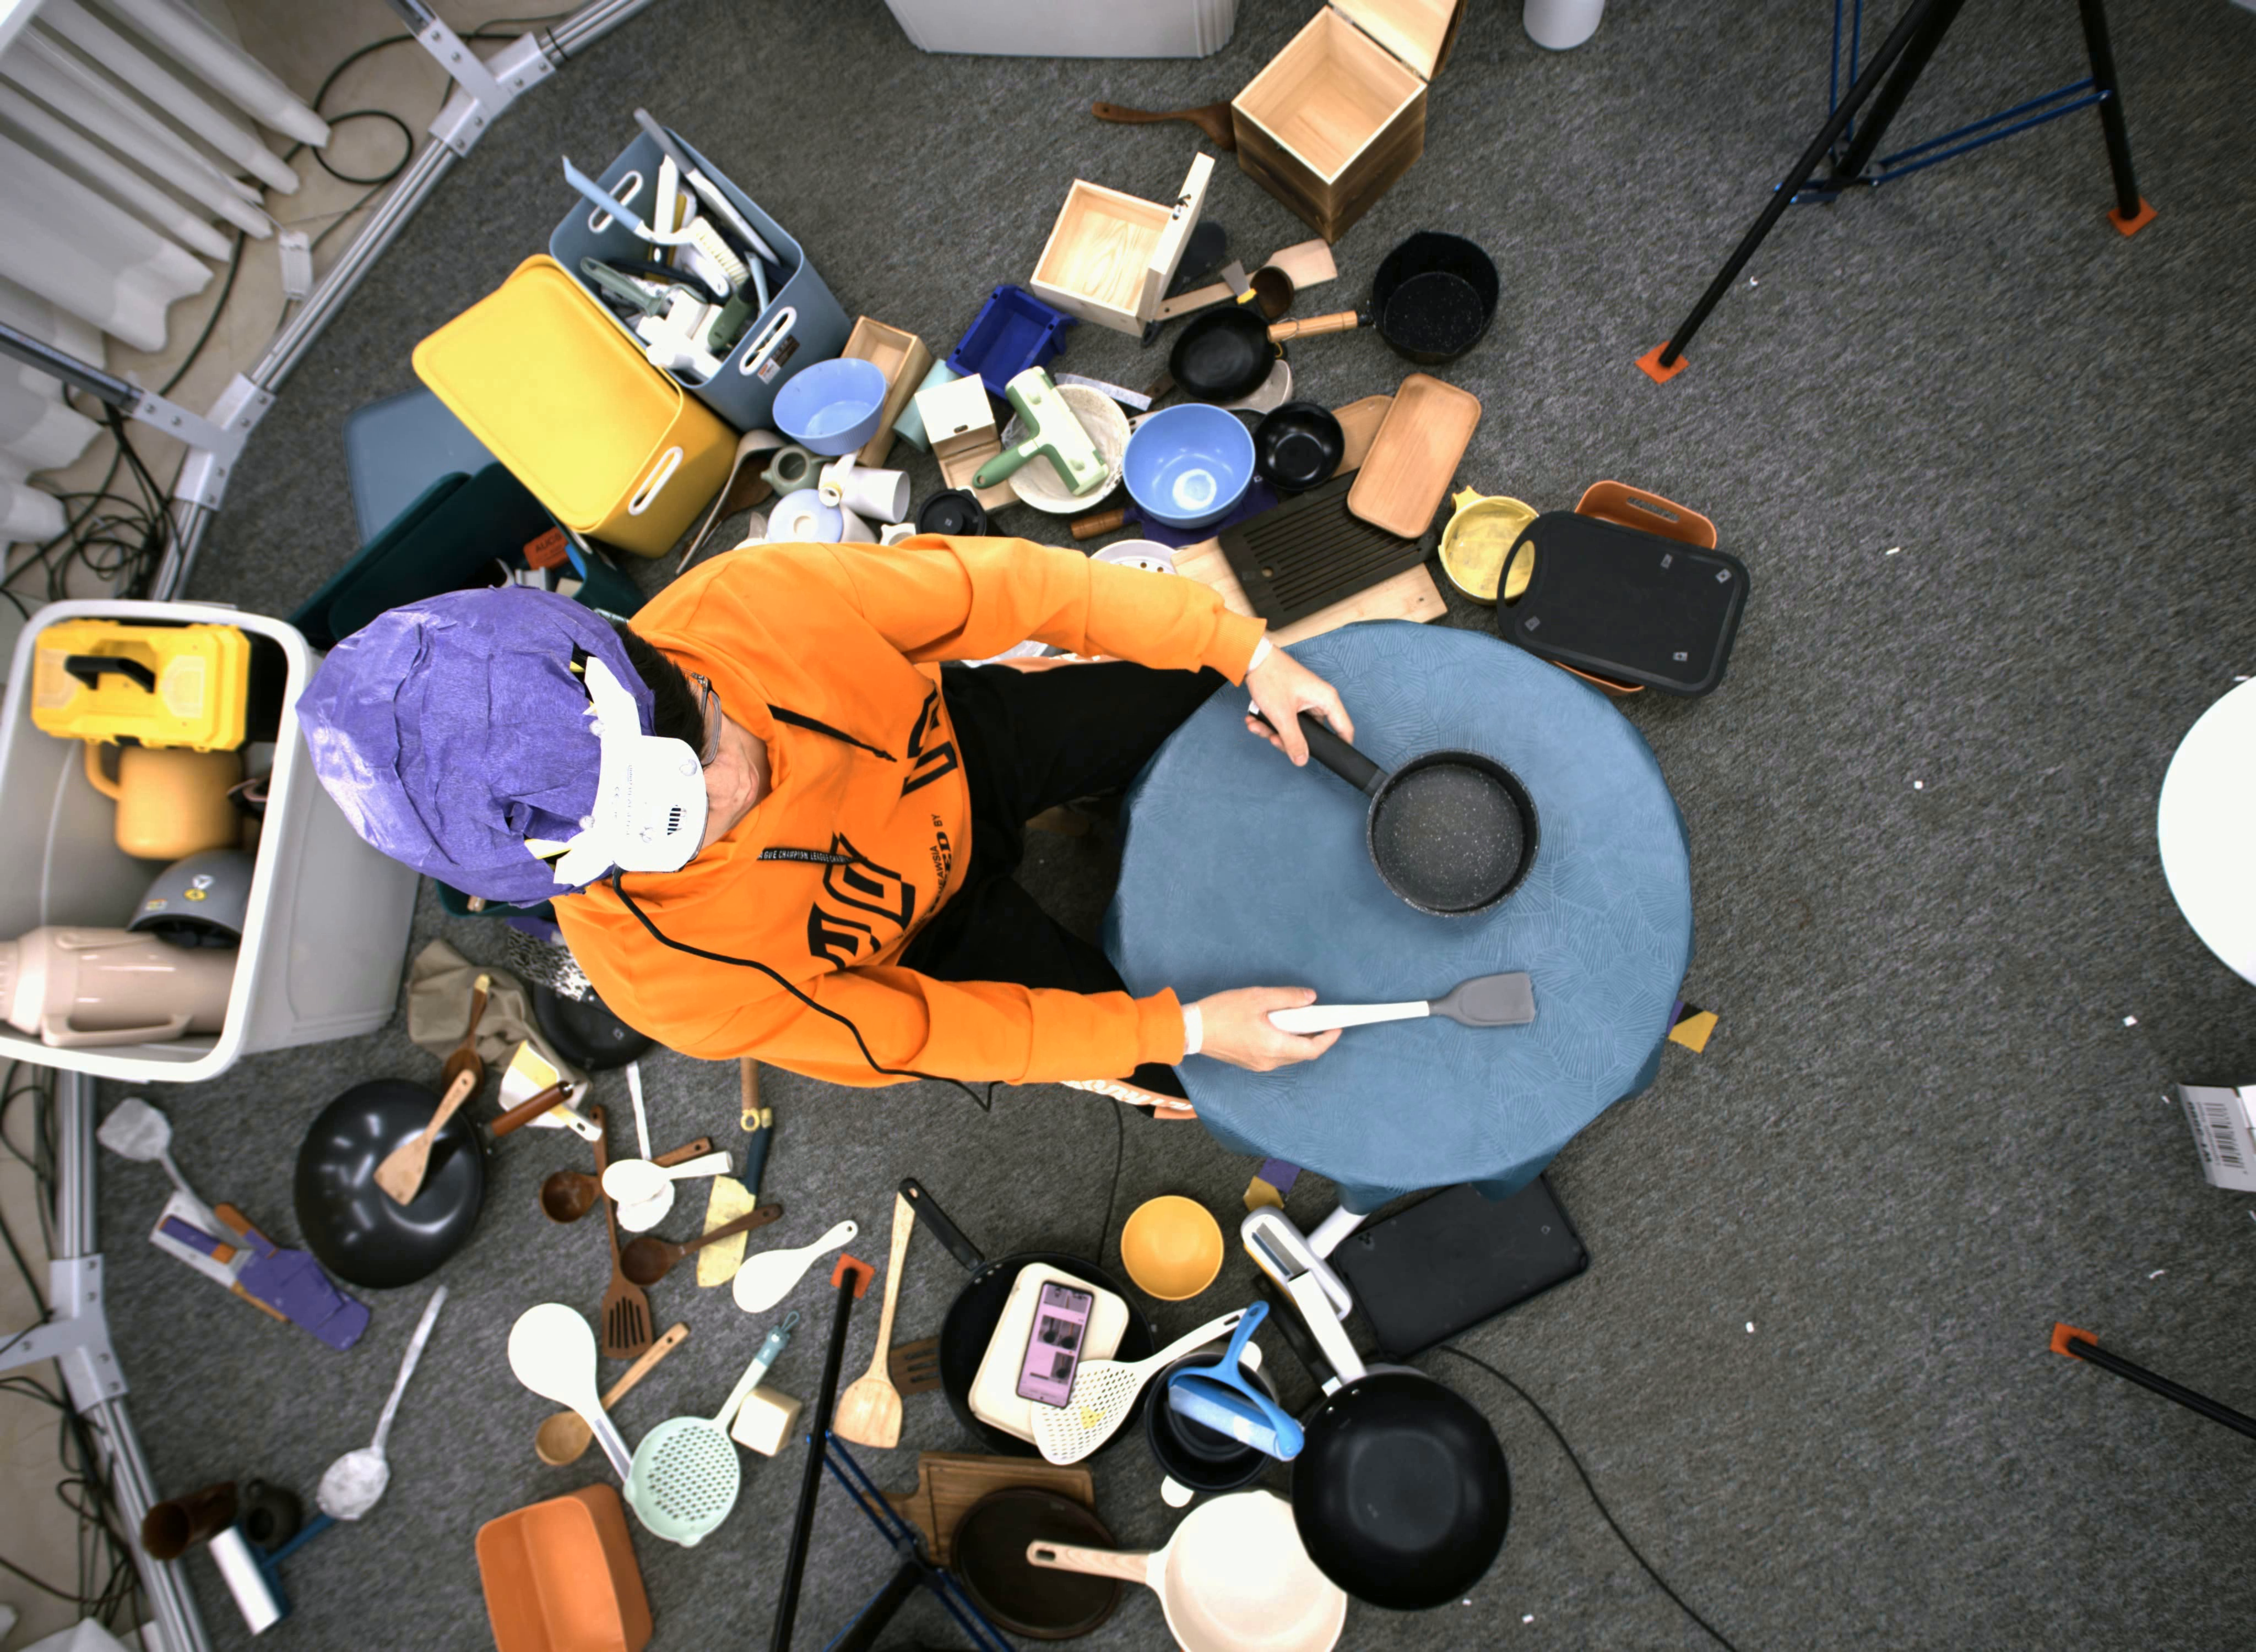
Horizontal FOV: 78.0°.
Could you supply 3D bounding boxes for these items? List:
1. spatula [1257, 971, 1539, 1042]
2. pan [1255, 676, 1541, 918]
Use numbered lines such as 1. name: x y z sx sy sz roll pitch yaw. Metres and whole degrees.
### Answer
1. spatula: 0.278 0.190 1.429 0.288 0.032 0.057 -7 70 3
2. pan: 0.268 -0.040 1.419 0.328 0.086 0.172 38 93 7
